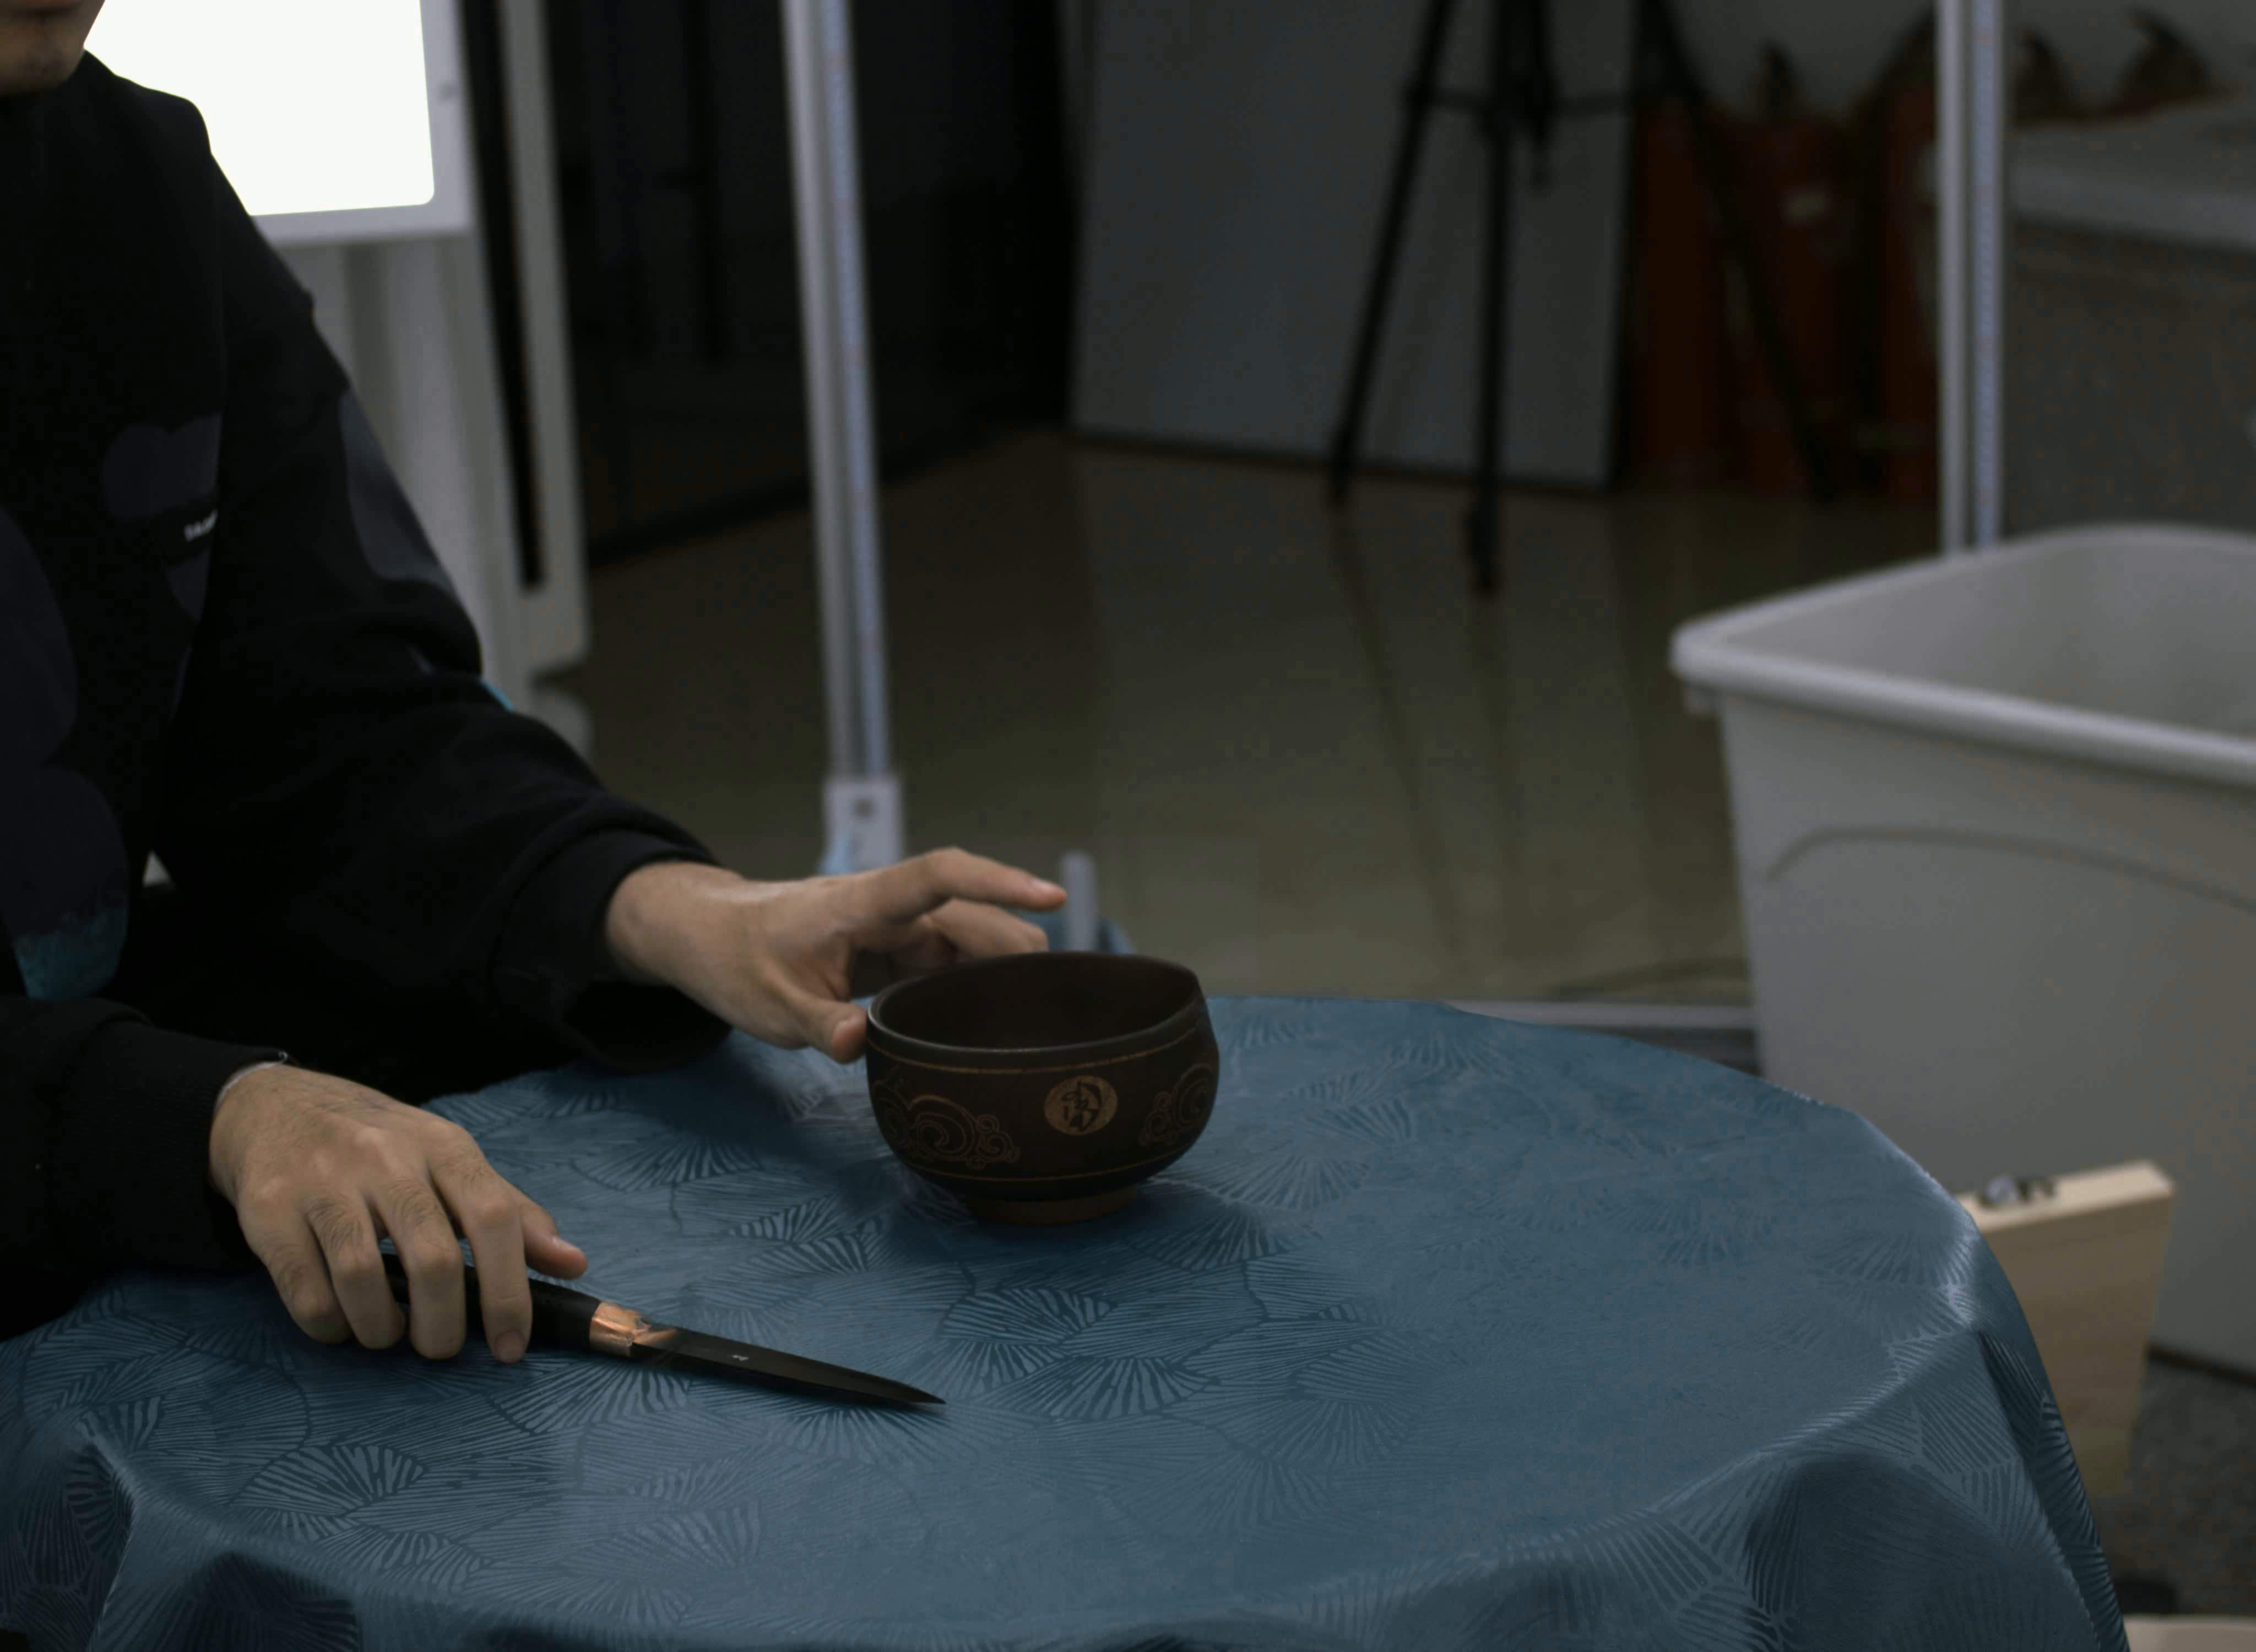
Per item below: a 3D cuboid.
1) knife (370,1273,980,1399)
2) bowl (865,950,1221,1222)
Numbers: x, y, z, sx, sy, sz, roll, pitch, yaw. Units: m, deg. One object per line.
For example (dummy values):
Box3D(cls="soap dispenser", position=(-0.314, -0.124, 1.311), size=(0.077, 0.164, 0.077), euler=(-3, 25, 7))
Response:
Box3D(cls="knife", position=(-0.140, 0.157, 1.643), size=(0.227, 0.017, 0.026), euler=(6, 10, 34))
Box3D(cls="bowl", position=(-0.027, 0.088, 1.757), size=(0.116, 0.070, 0.118), euler=(-4, 11, 0))
